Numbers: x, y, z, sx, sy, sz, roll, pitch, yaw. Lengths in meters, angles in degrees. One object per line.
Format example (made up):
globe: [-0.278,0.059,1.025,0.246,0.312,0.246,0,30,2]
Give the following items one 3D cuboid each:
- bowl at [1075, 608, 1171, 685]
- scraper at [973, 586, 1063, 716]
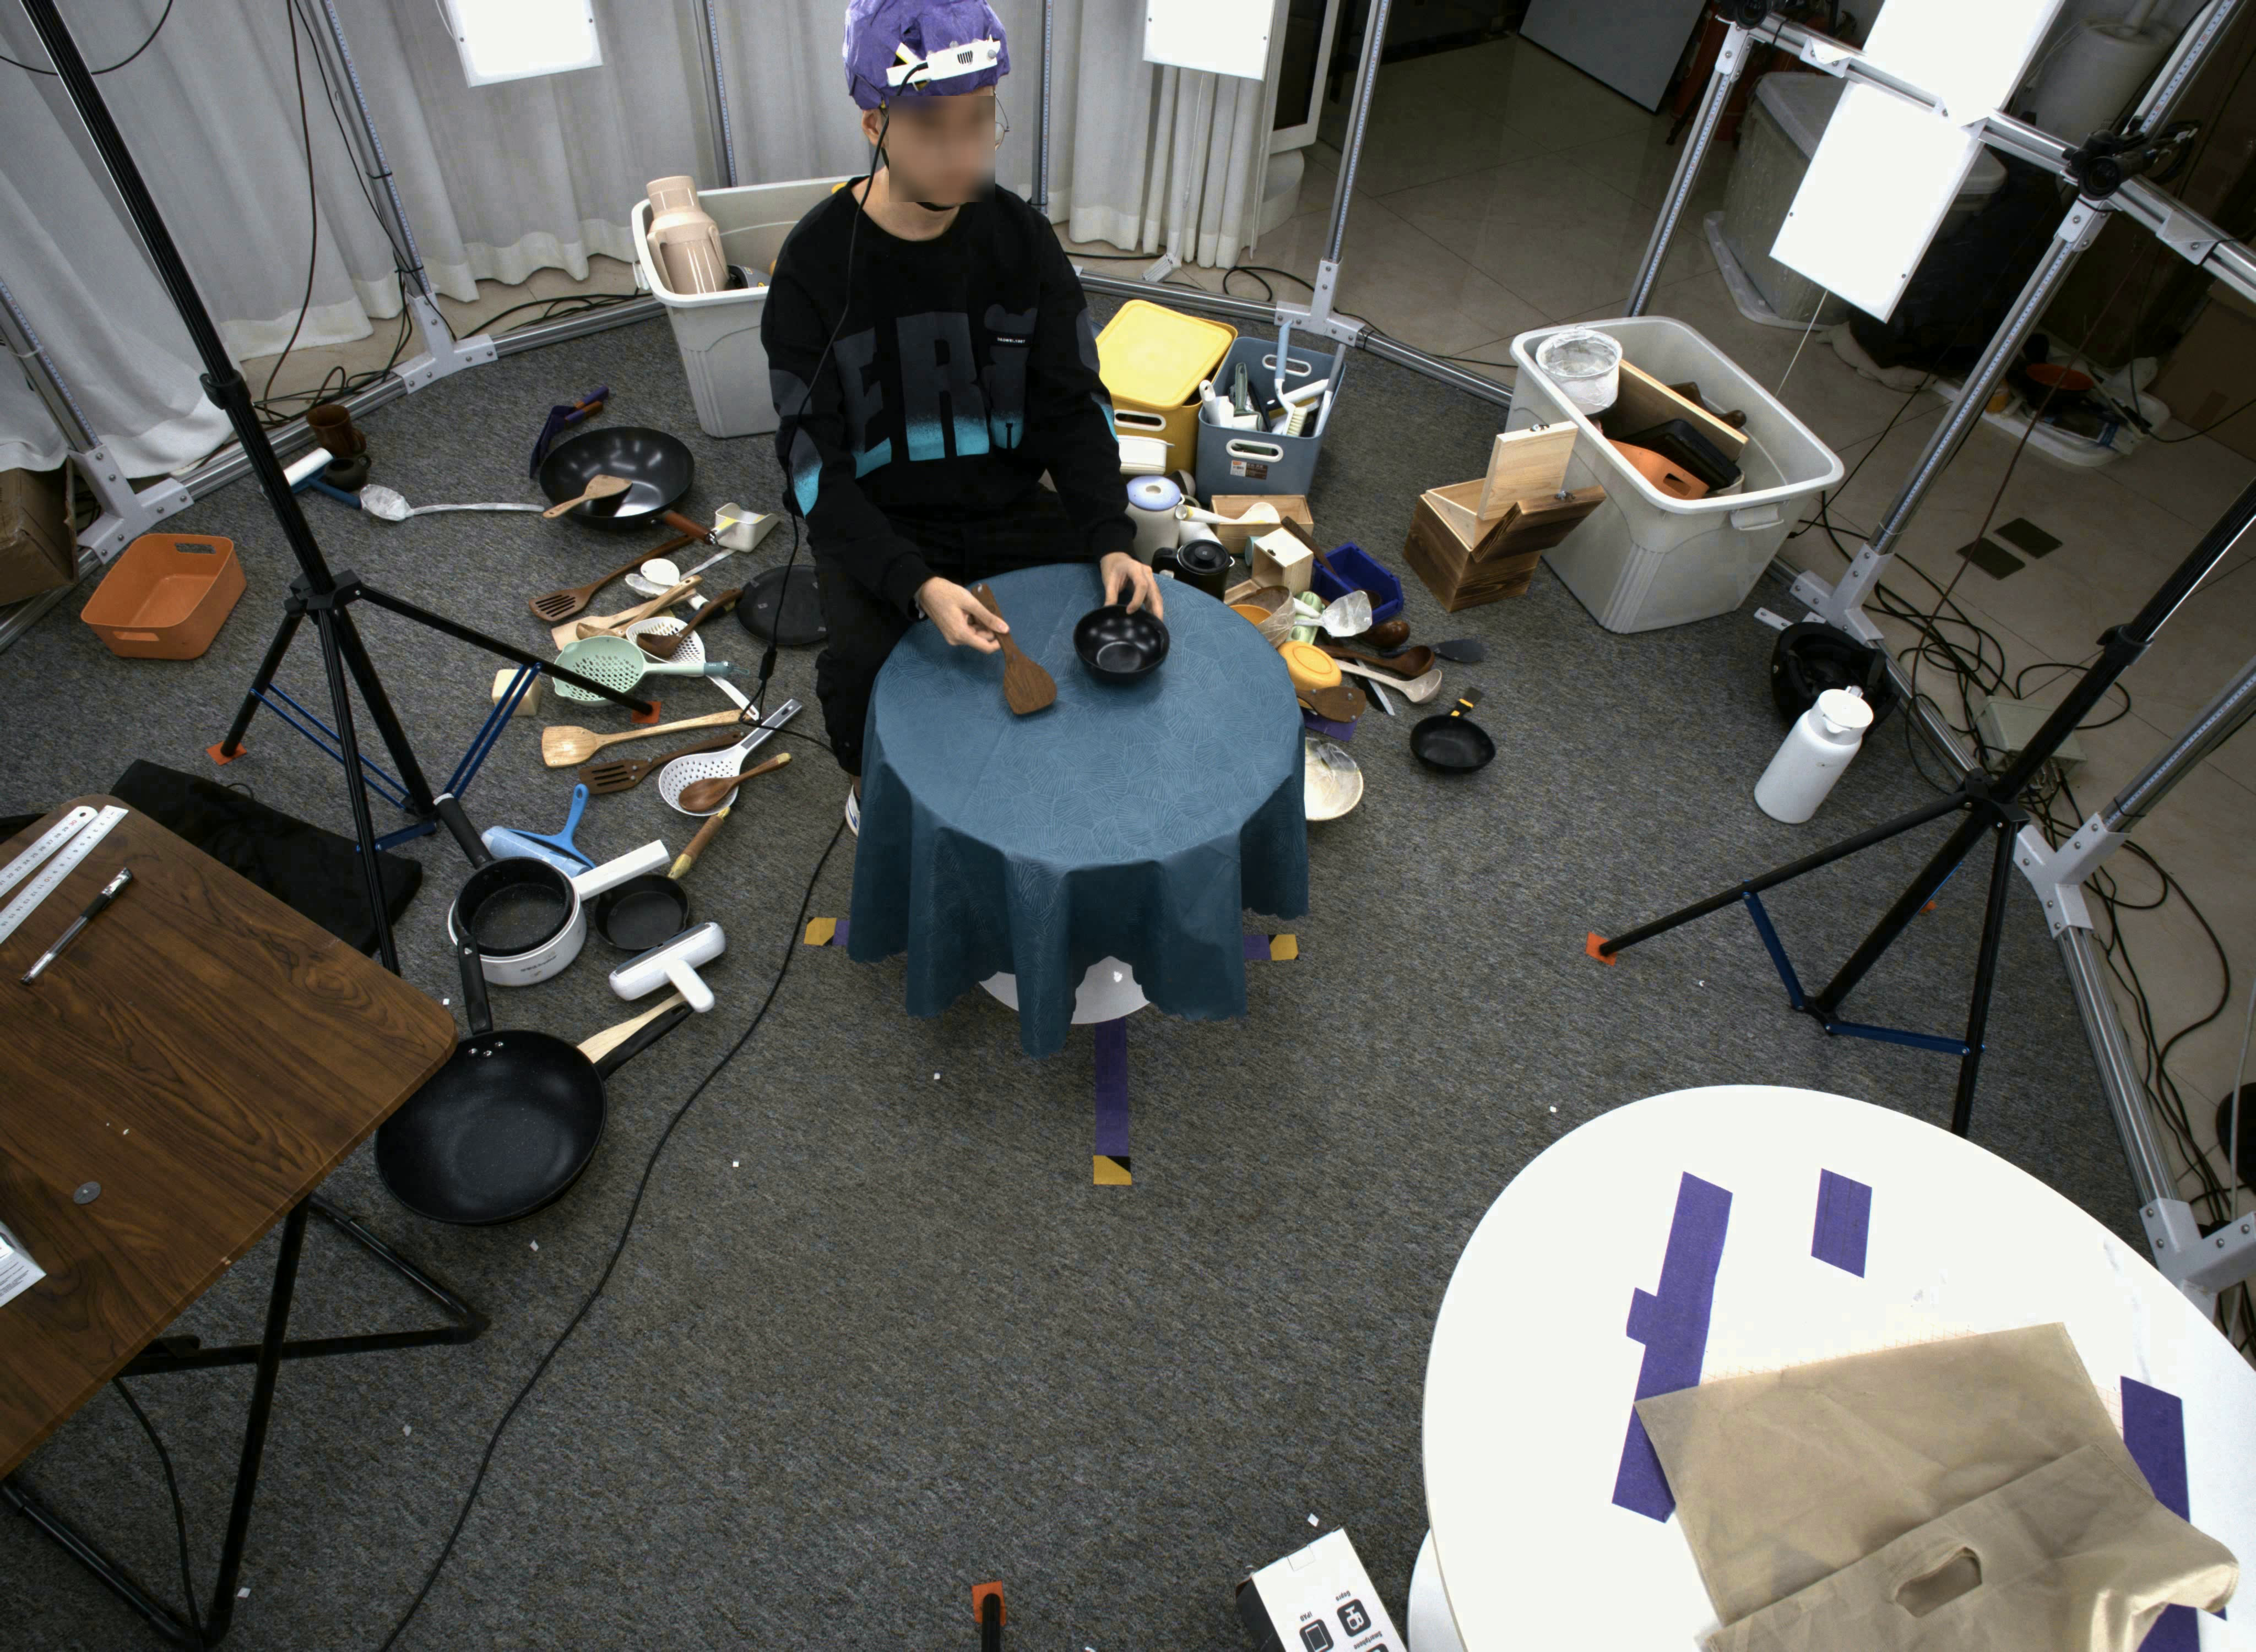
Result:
bowl: [-0.007,-0.254,1.873,0.140,0.048,0.143,0,51,0]
scraper: [-0.167,-0.253,1.836,0.076,0.010,0.214,-22,74,-17]
